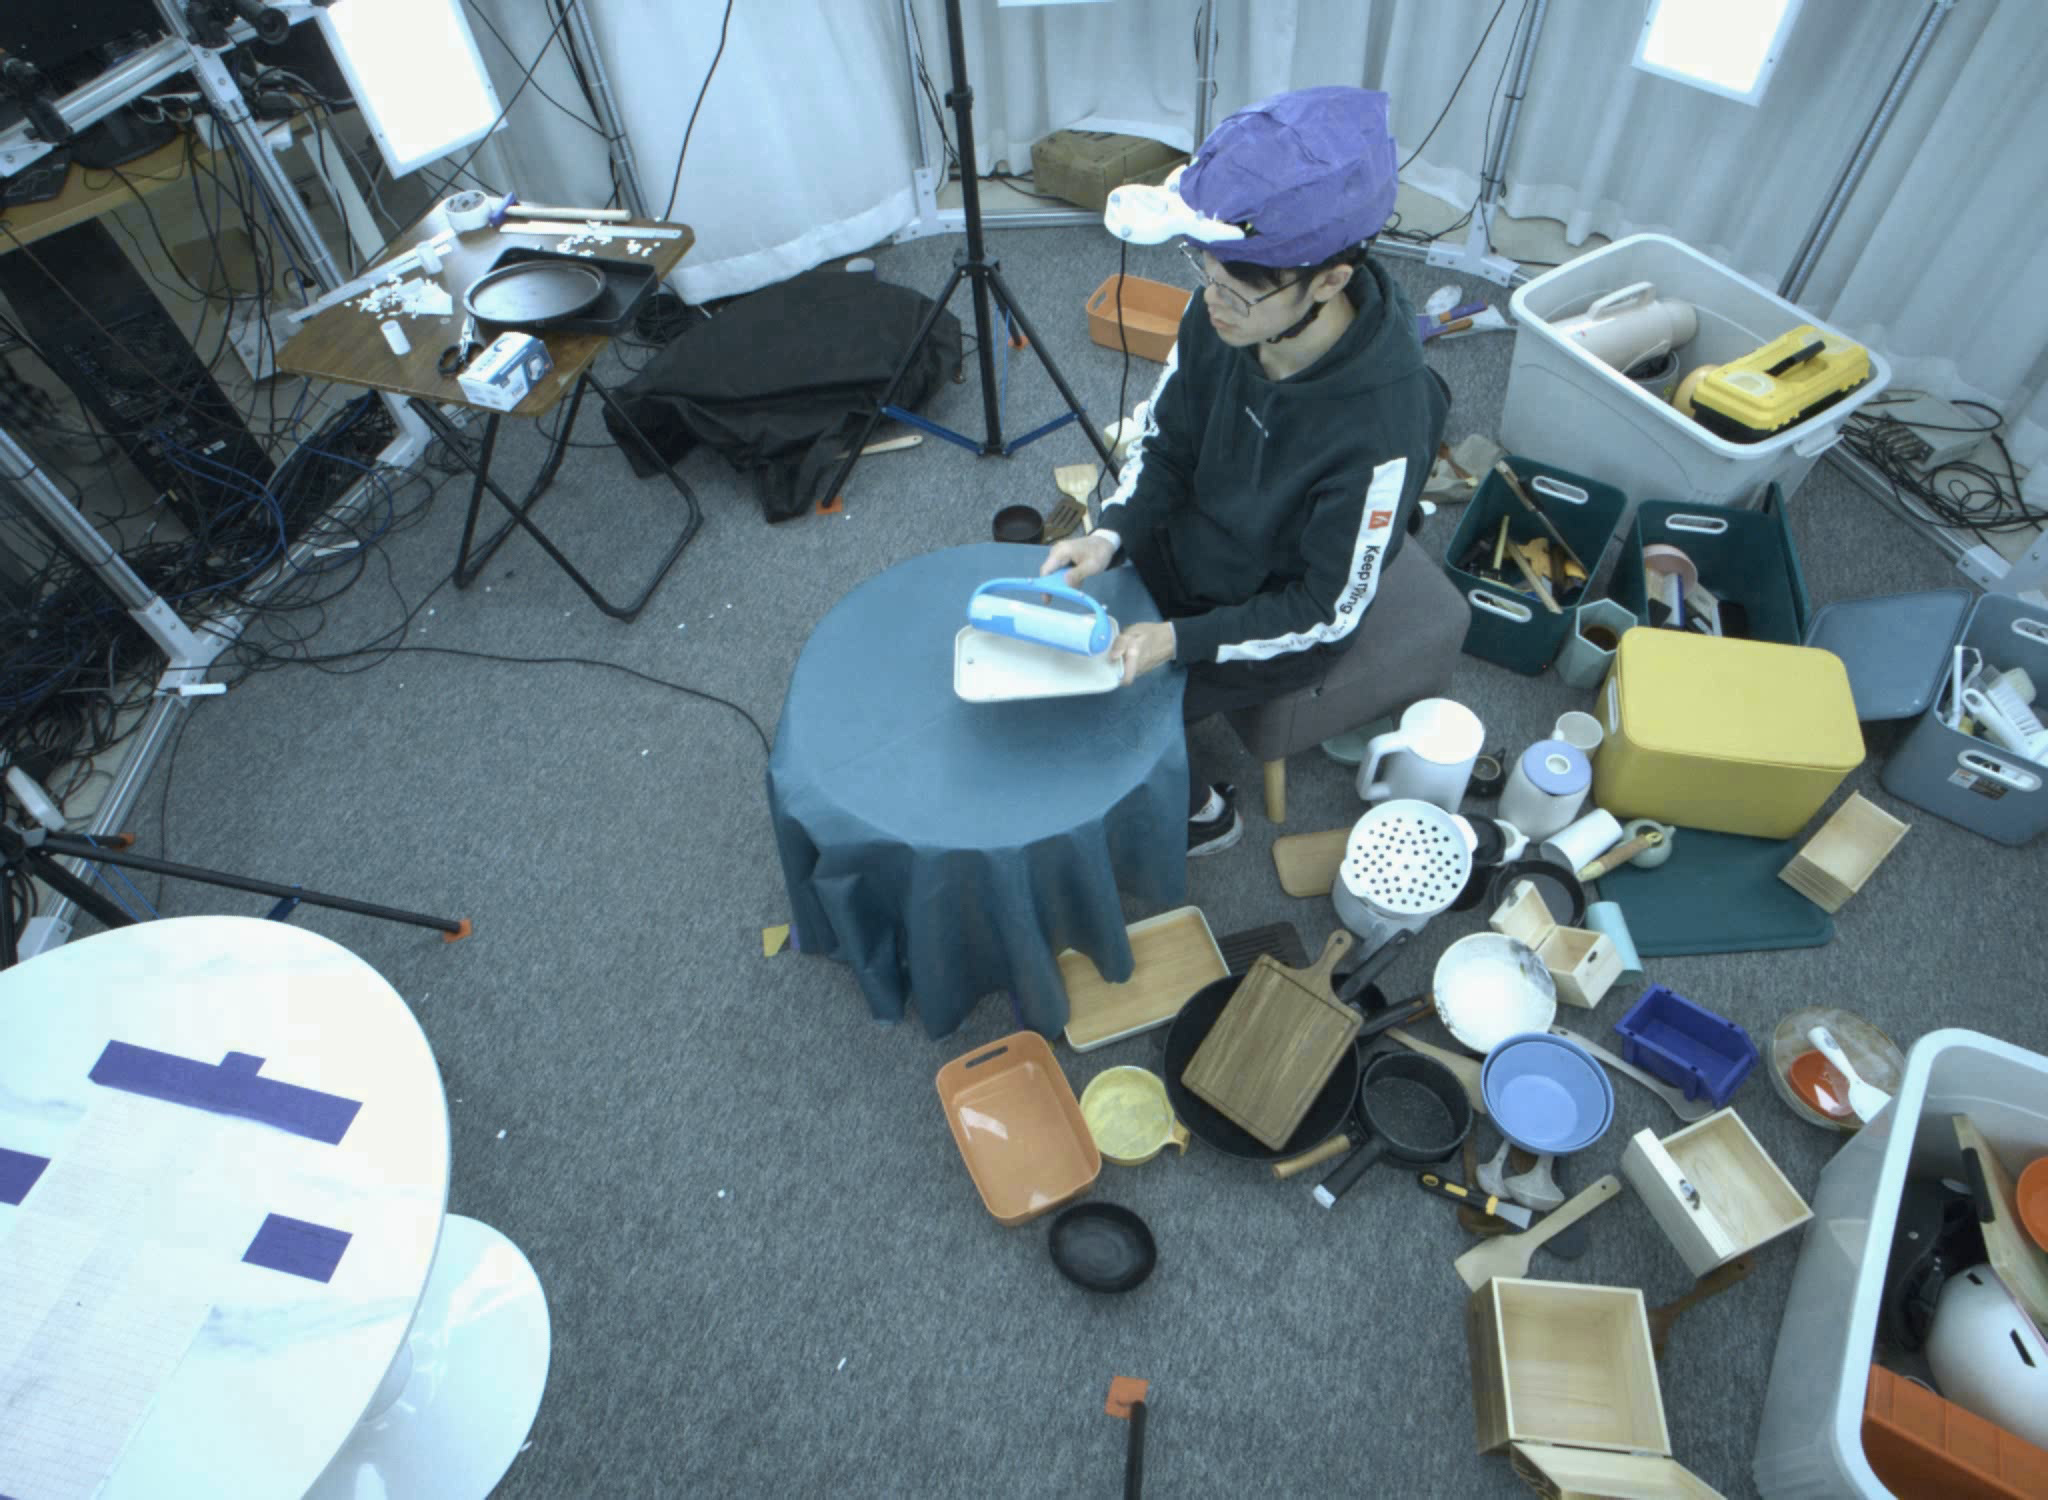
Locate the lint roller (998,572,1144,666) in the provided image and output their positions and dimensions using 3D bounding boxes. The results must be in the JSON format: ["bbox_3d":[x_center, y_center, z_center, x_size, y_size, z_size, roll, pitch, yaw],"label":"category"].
[{"bbox_3d":[0.089,-0.211,1.758,0.225,0.069,0.180,15,56,25],"label":"lint roller"}]

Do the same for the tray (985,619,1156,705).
[{"bbox_3d":[0.065,-0.125,1.753,0.239,0.018,0.169,-3,43,2],"label":"tray"}]
